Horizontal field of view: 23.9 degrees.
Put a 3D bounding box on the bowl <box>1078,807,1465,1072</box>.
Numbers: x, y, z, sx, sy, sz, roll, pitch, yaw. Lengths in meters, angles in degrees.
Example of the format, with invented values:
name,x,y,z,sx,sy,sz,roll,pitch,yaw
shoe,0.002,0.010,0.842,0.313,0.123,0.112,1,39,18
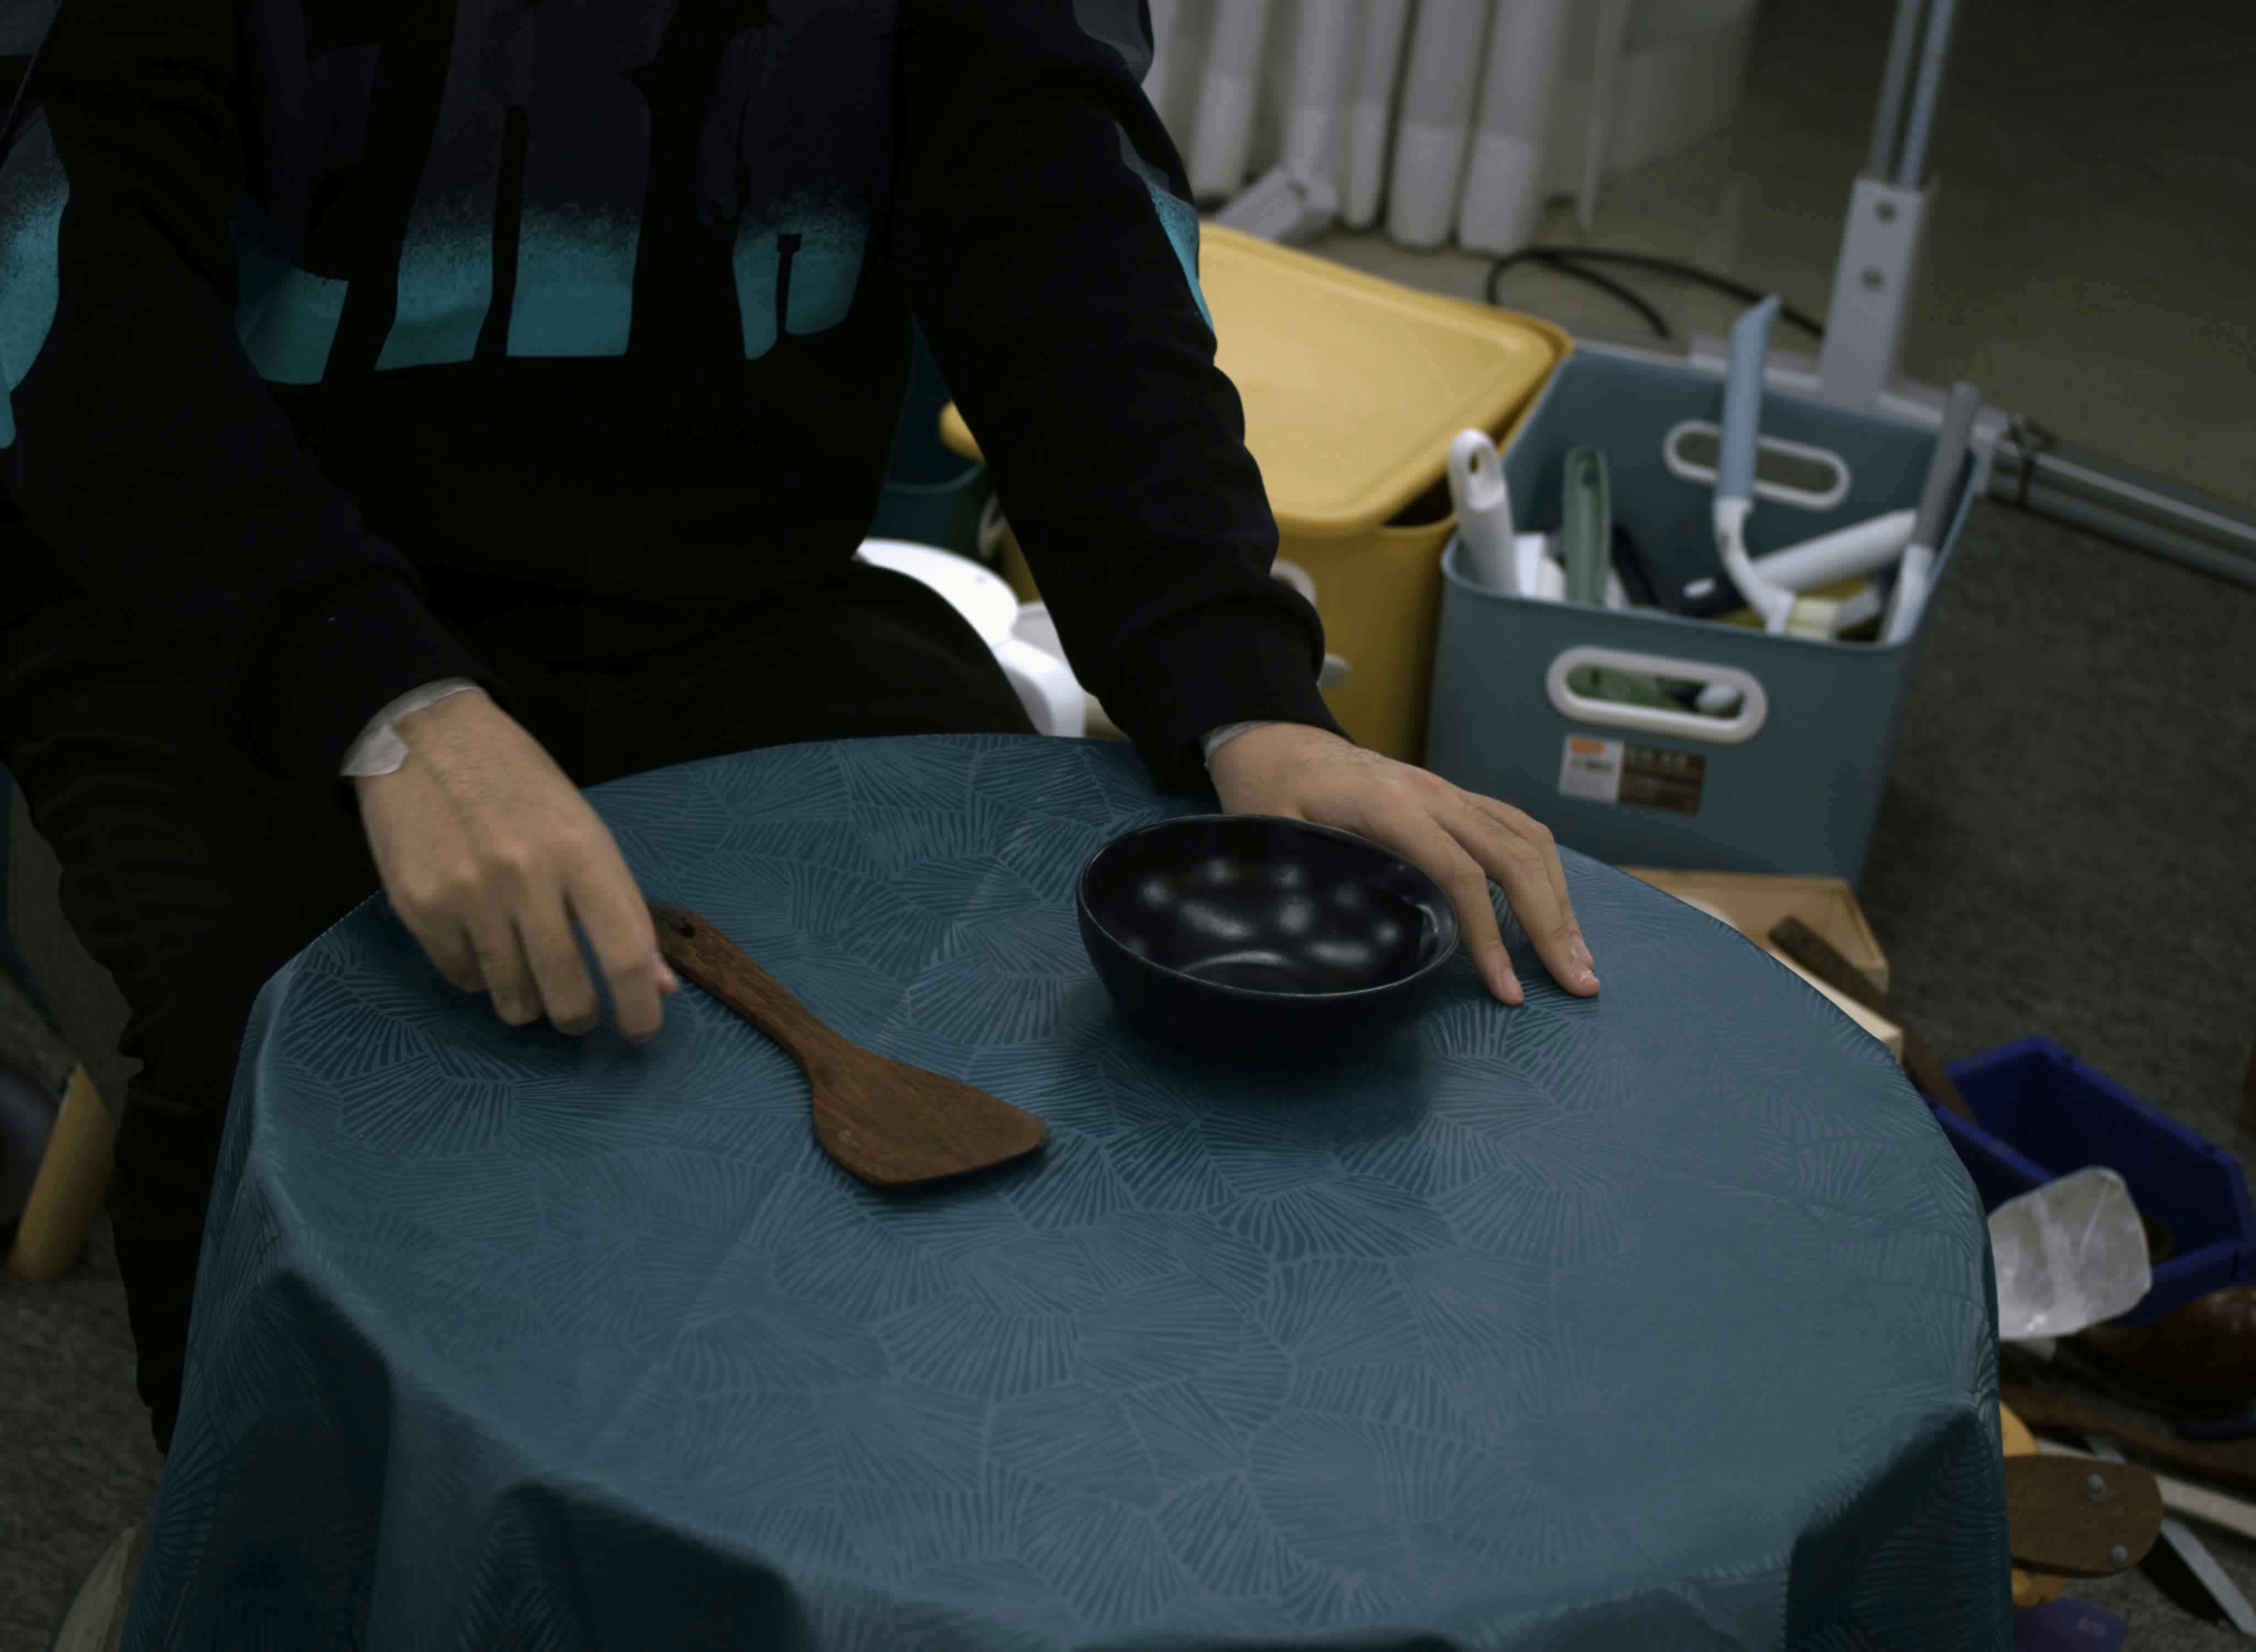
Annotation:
name,x,y,z,sx,sy,sz,roll,pitch,yaw
bowl,0.050,0.049,1.905,0.139,0.049,0.141,3,29,-2

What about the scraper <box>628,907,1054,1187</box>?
name,x,y,z,sx,sy,sz,roll,pitch,yaw
scraper,-0.111,0.075,1.862,0.075,0.011,0.213,-12,31,-35
